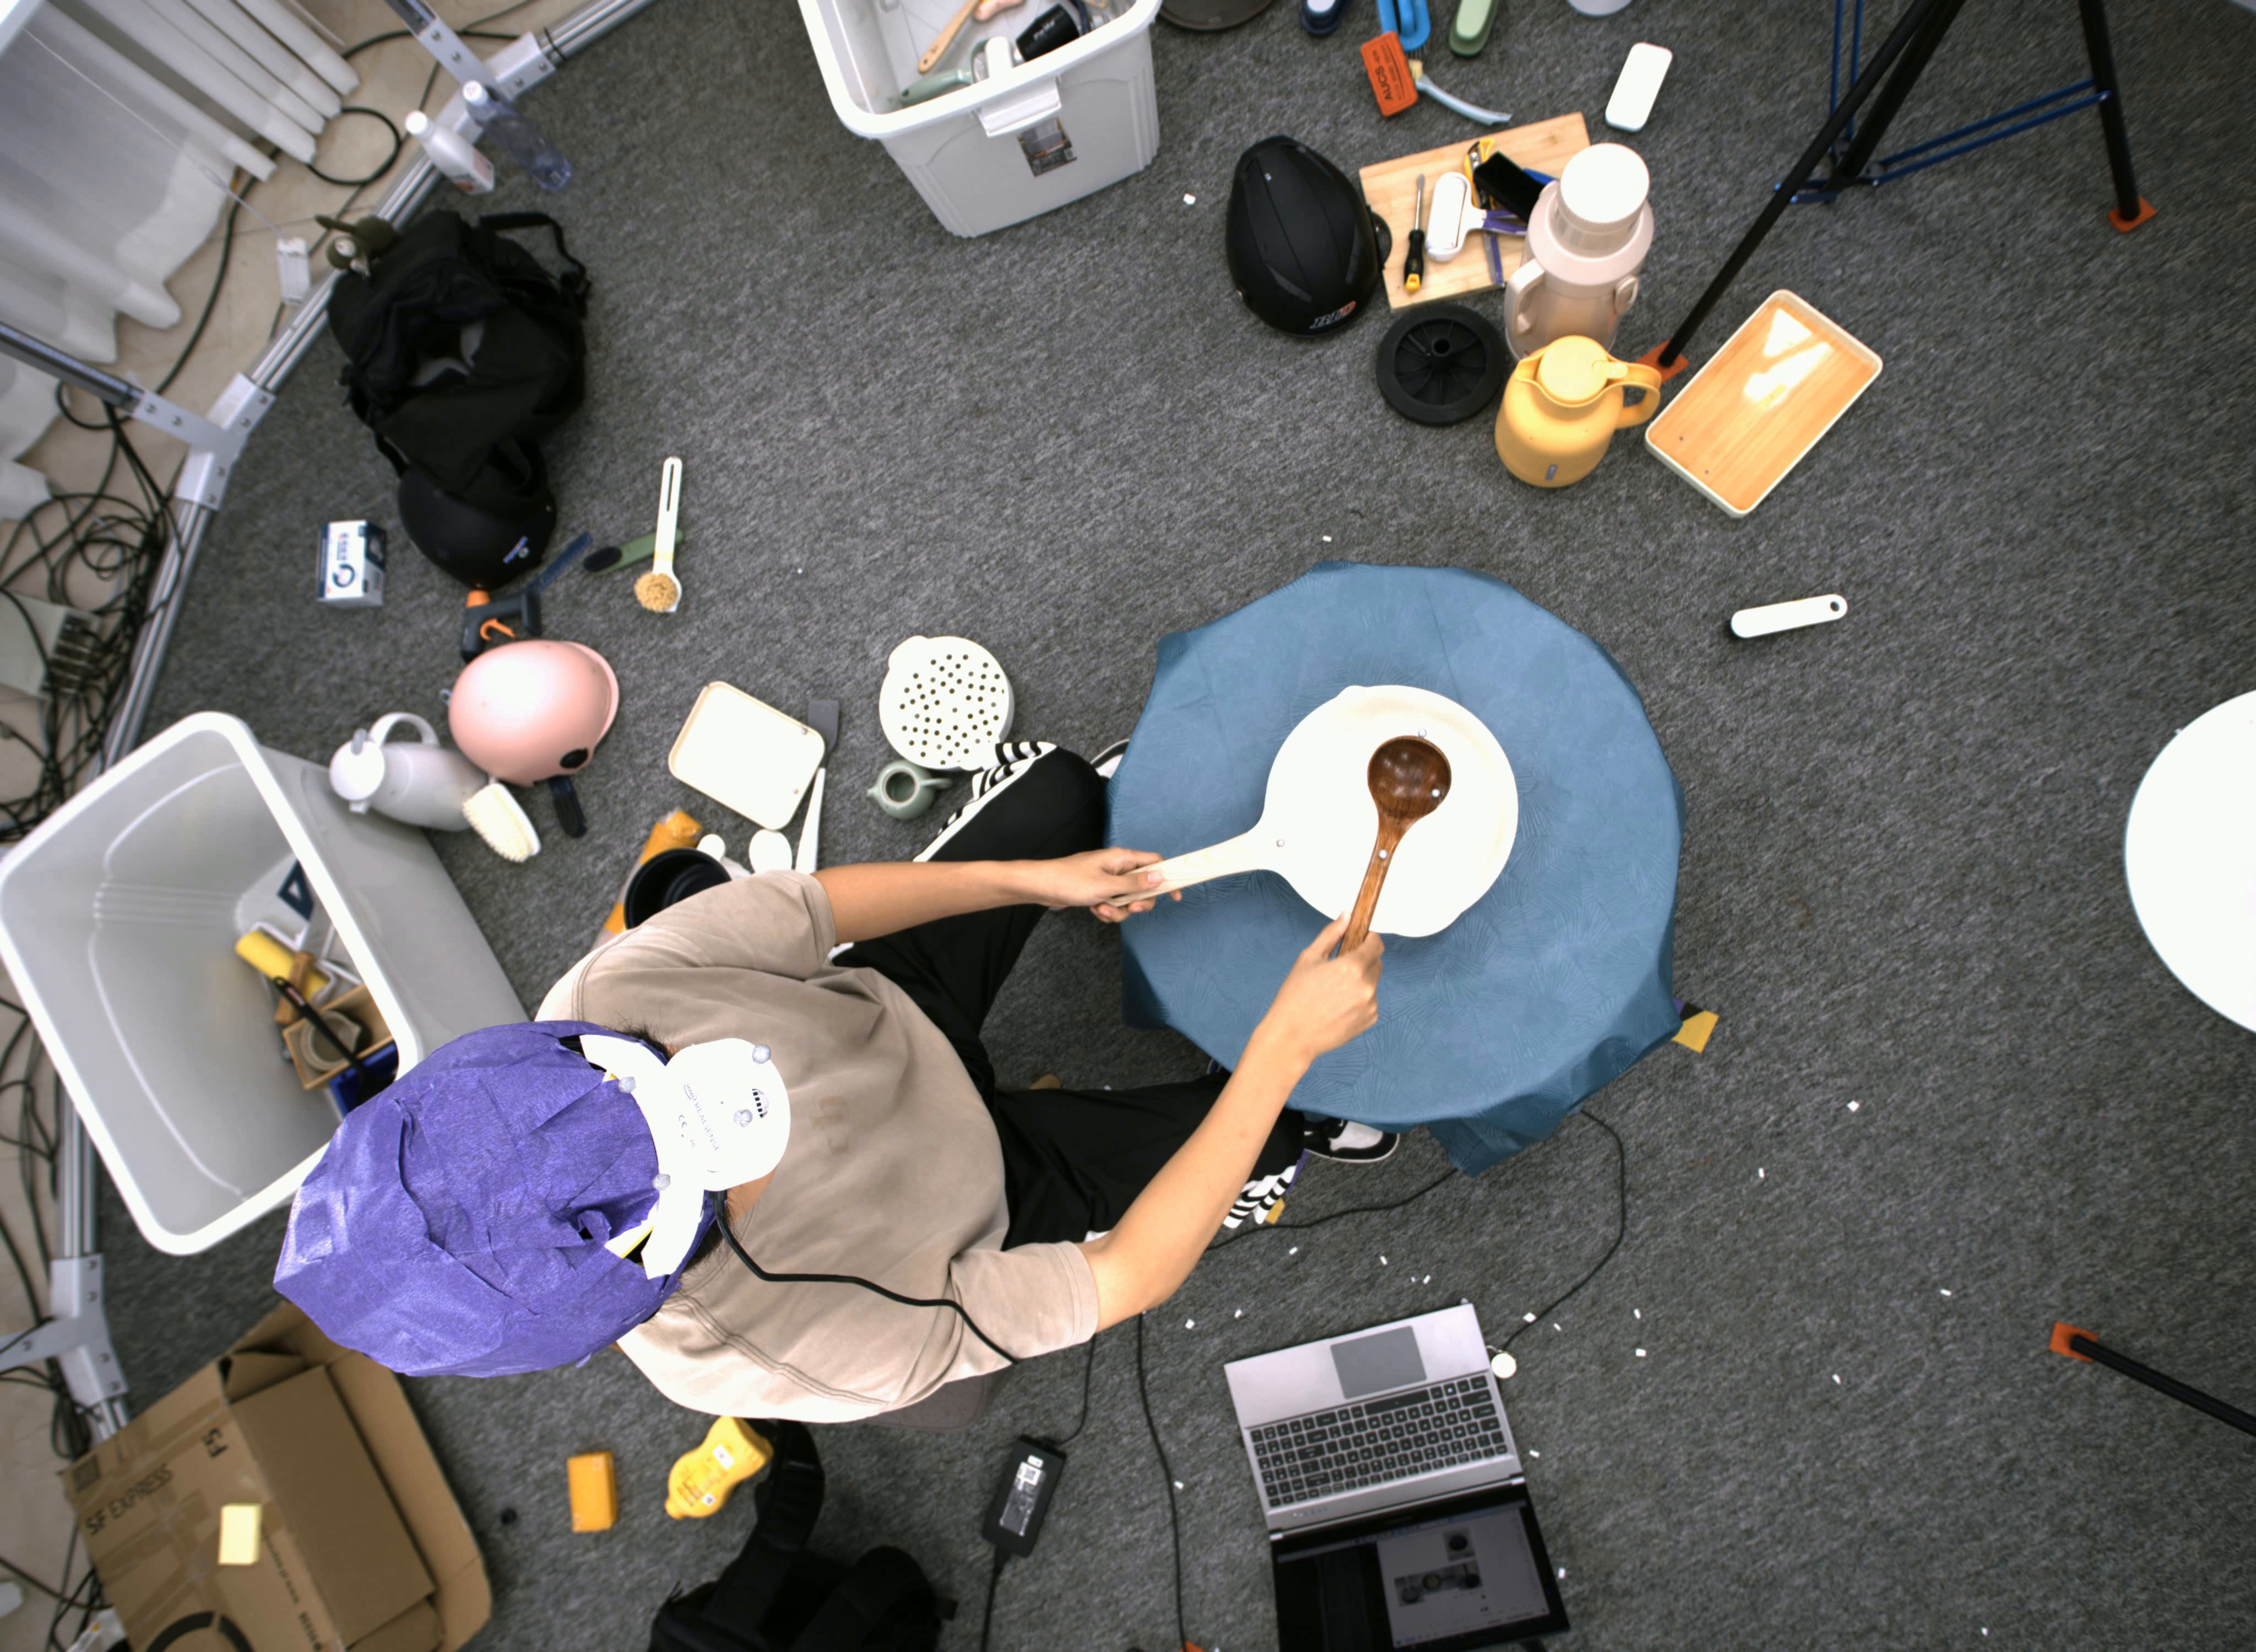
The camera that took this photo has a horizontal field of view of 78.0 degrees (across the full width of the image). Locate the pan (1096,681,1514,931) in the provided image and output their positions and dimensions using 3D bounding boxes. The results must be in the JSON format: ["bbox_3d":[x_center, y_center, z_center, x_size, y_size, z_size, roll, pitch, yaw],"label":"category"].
[{"bbox_3d":[0.179,0.008,1.432,0.437,0.102,0.262,-19,85,9],"label":"pan"}]

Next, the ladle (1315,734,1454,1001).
[{"bbox_3d":[0.232,0.031,1.276,0.082,0.078,0.268,17,60,18],"label":"ladle"}]
